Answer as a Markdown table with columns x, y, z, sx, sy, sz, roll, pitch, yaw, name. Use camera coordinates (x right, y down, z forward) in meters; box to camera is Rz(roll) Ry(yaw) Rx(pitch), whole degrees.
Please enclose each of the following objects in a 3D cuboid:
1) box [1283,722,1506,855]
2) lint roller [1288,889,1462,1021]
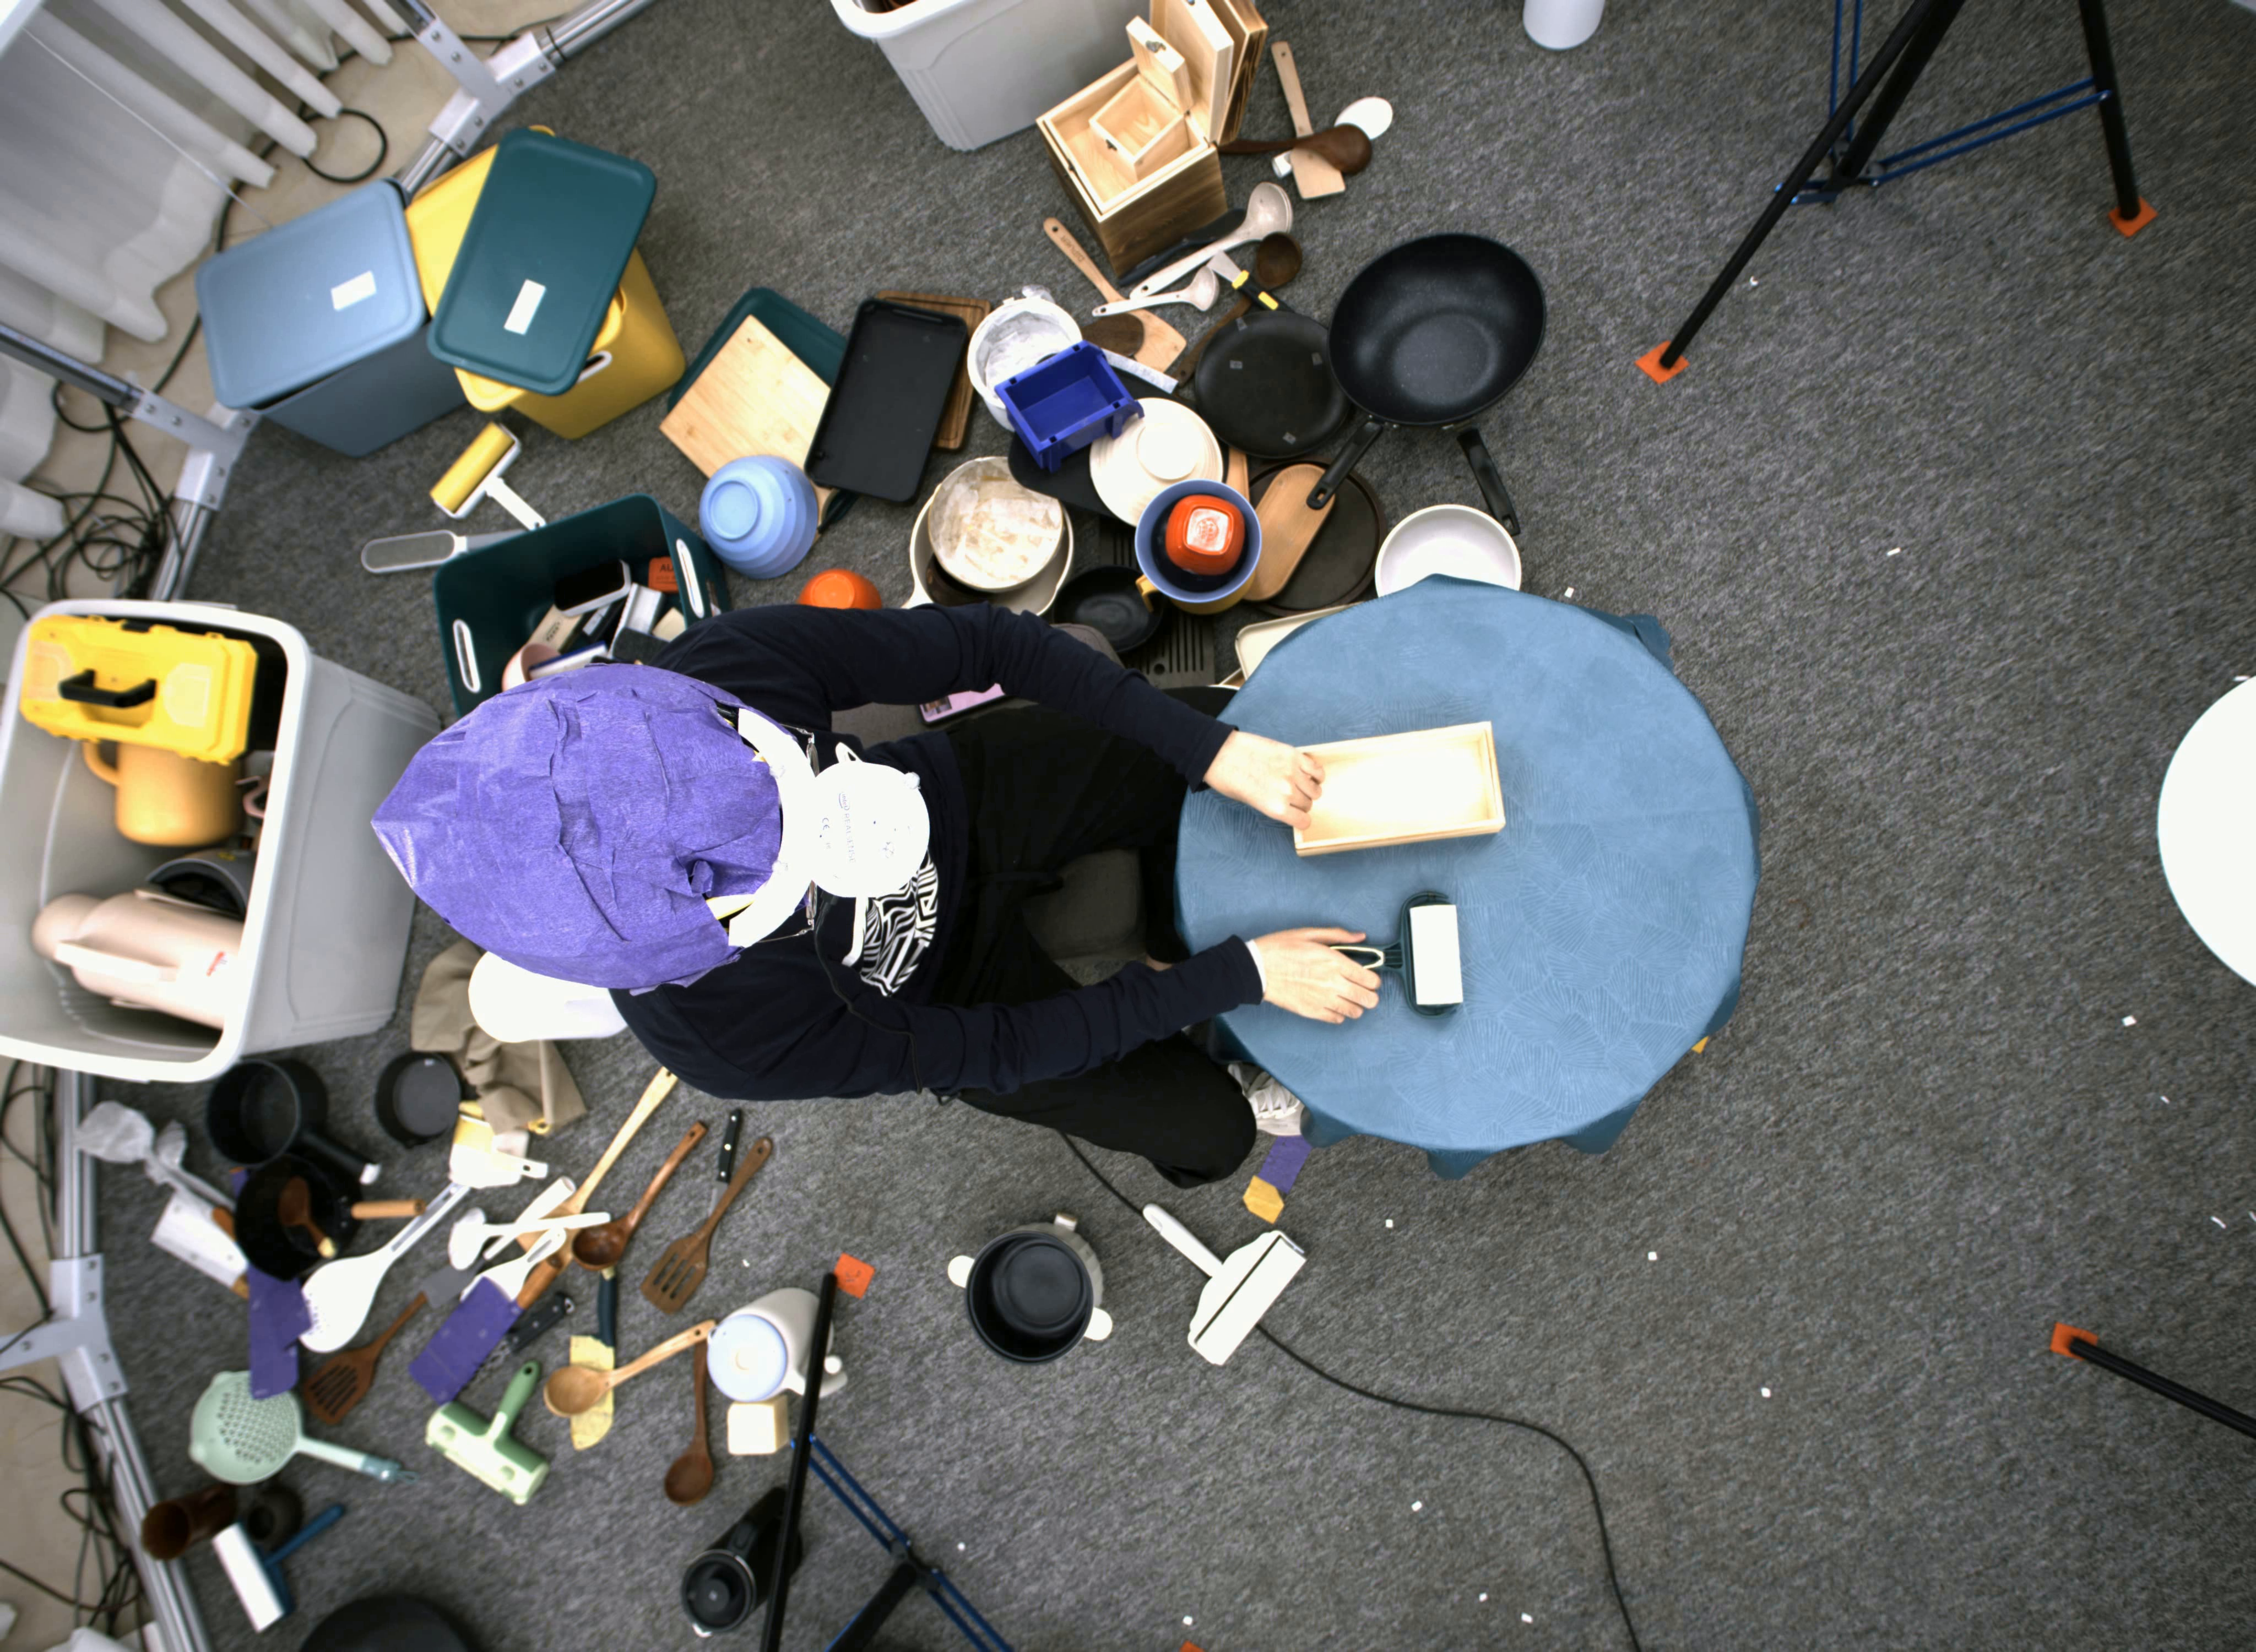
| x | y | z | sx | sy | sz | roll | pitch | yaw | name |
| --- | --- | --- | --- | --- | --- | --- | --- | --- | --- |
| 0.274 | -0.038 | 1.425 | 0.212 | 0.080 | 0.107 | -8 | 85 | 12 | box |
| 0.253 | 0.137 | 1.441 | 0.181 | 0.048 | 0.133 | -5 | 86 | 15 | lint roller |
